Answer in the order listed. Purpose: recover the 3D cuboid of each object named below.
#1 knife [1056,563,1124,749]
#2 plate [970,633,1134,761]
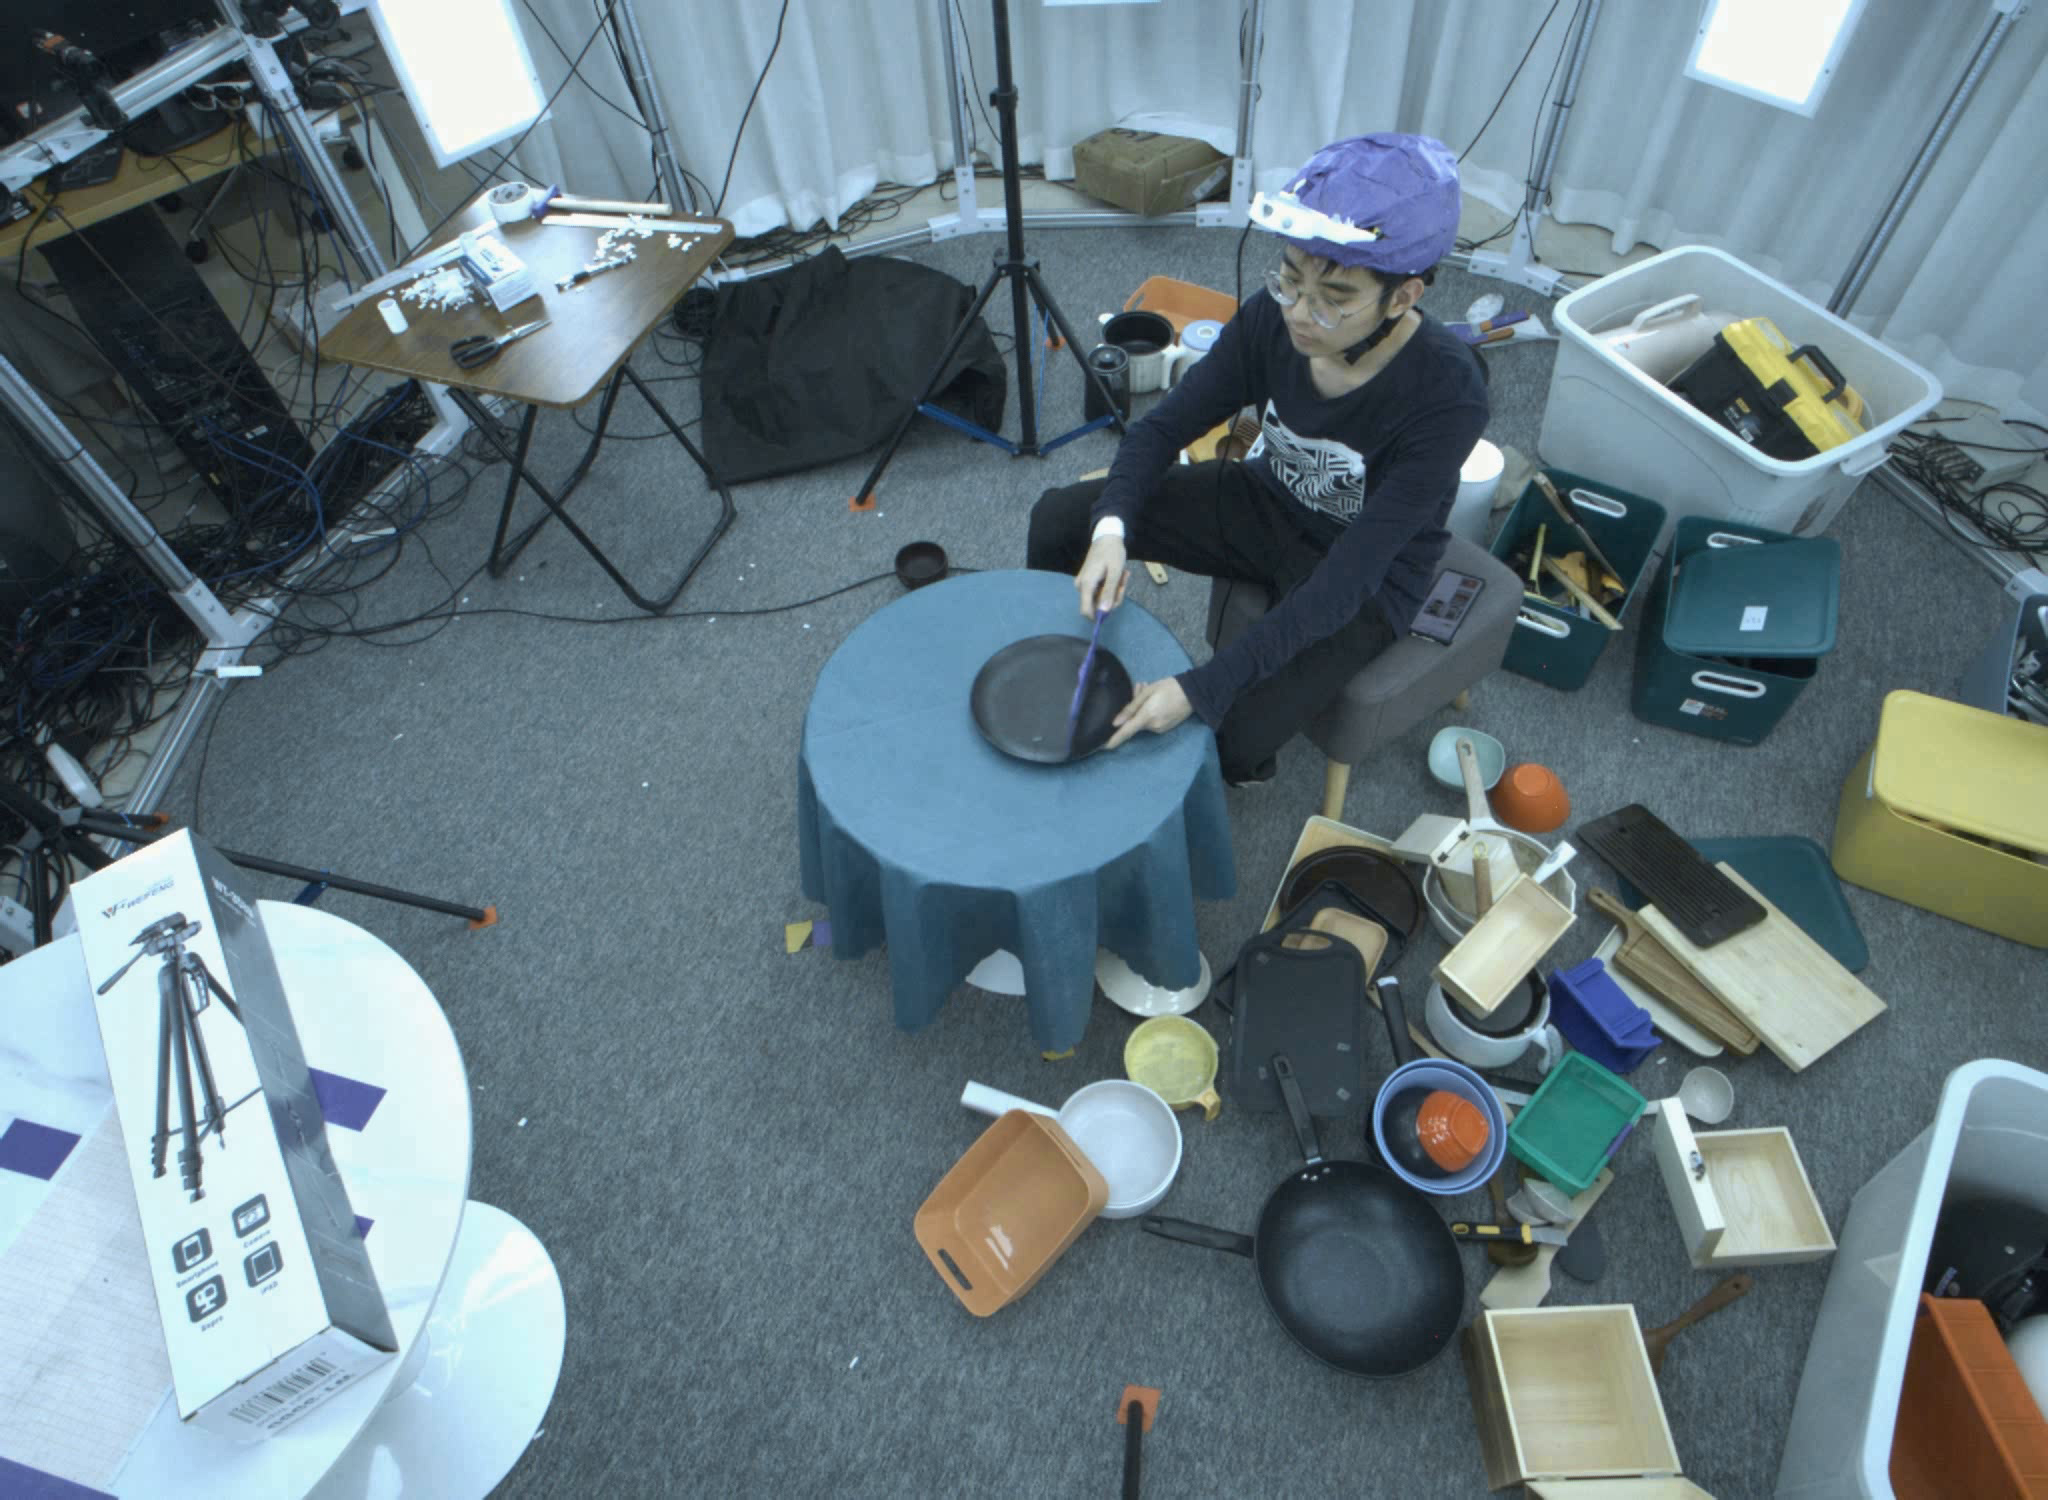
[{"bbox_3d":[0.093,-0.141,1.808,0.032,0.104,0.314,17,54,5],"label":"knife"},{"bbox_3d":[0.041,-0.077,1.833,0.244,0.024,0.242,-1,54,2],"label":"plate"}]
